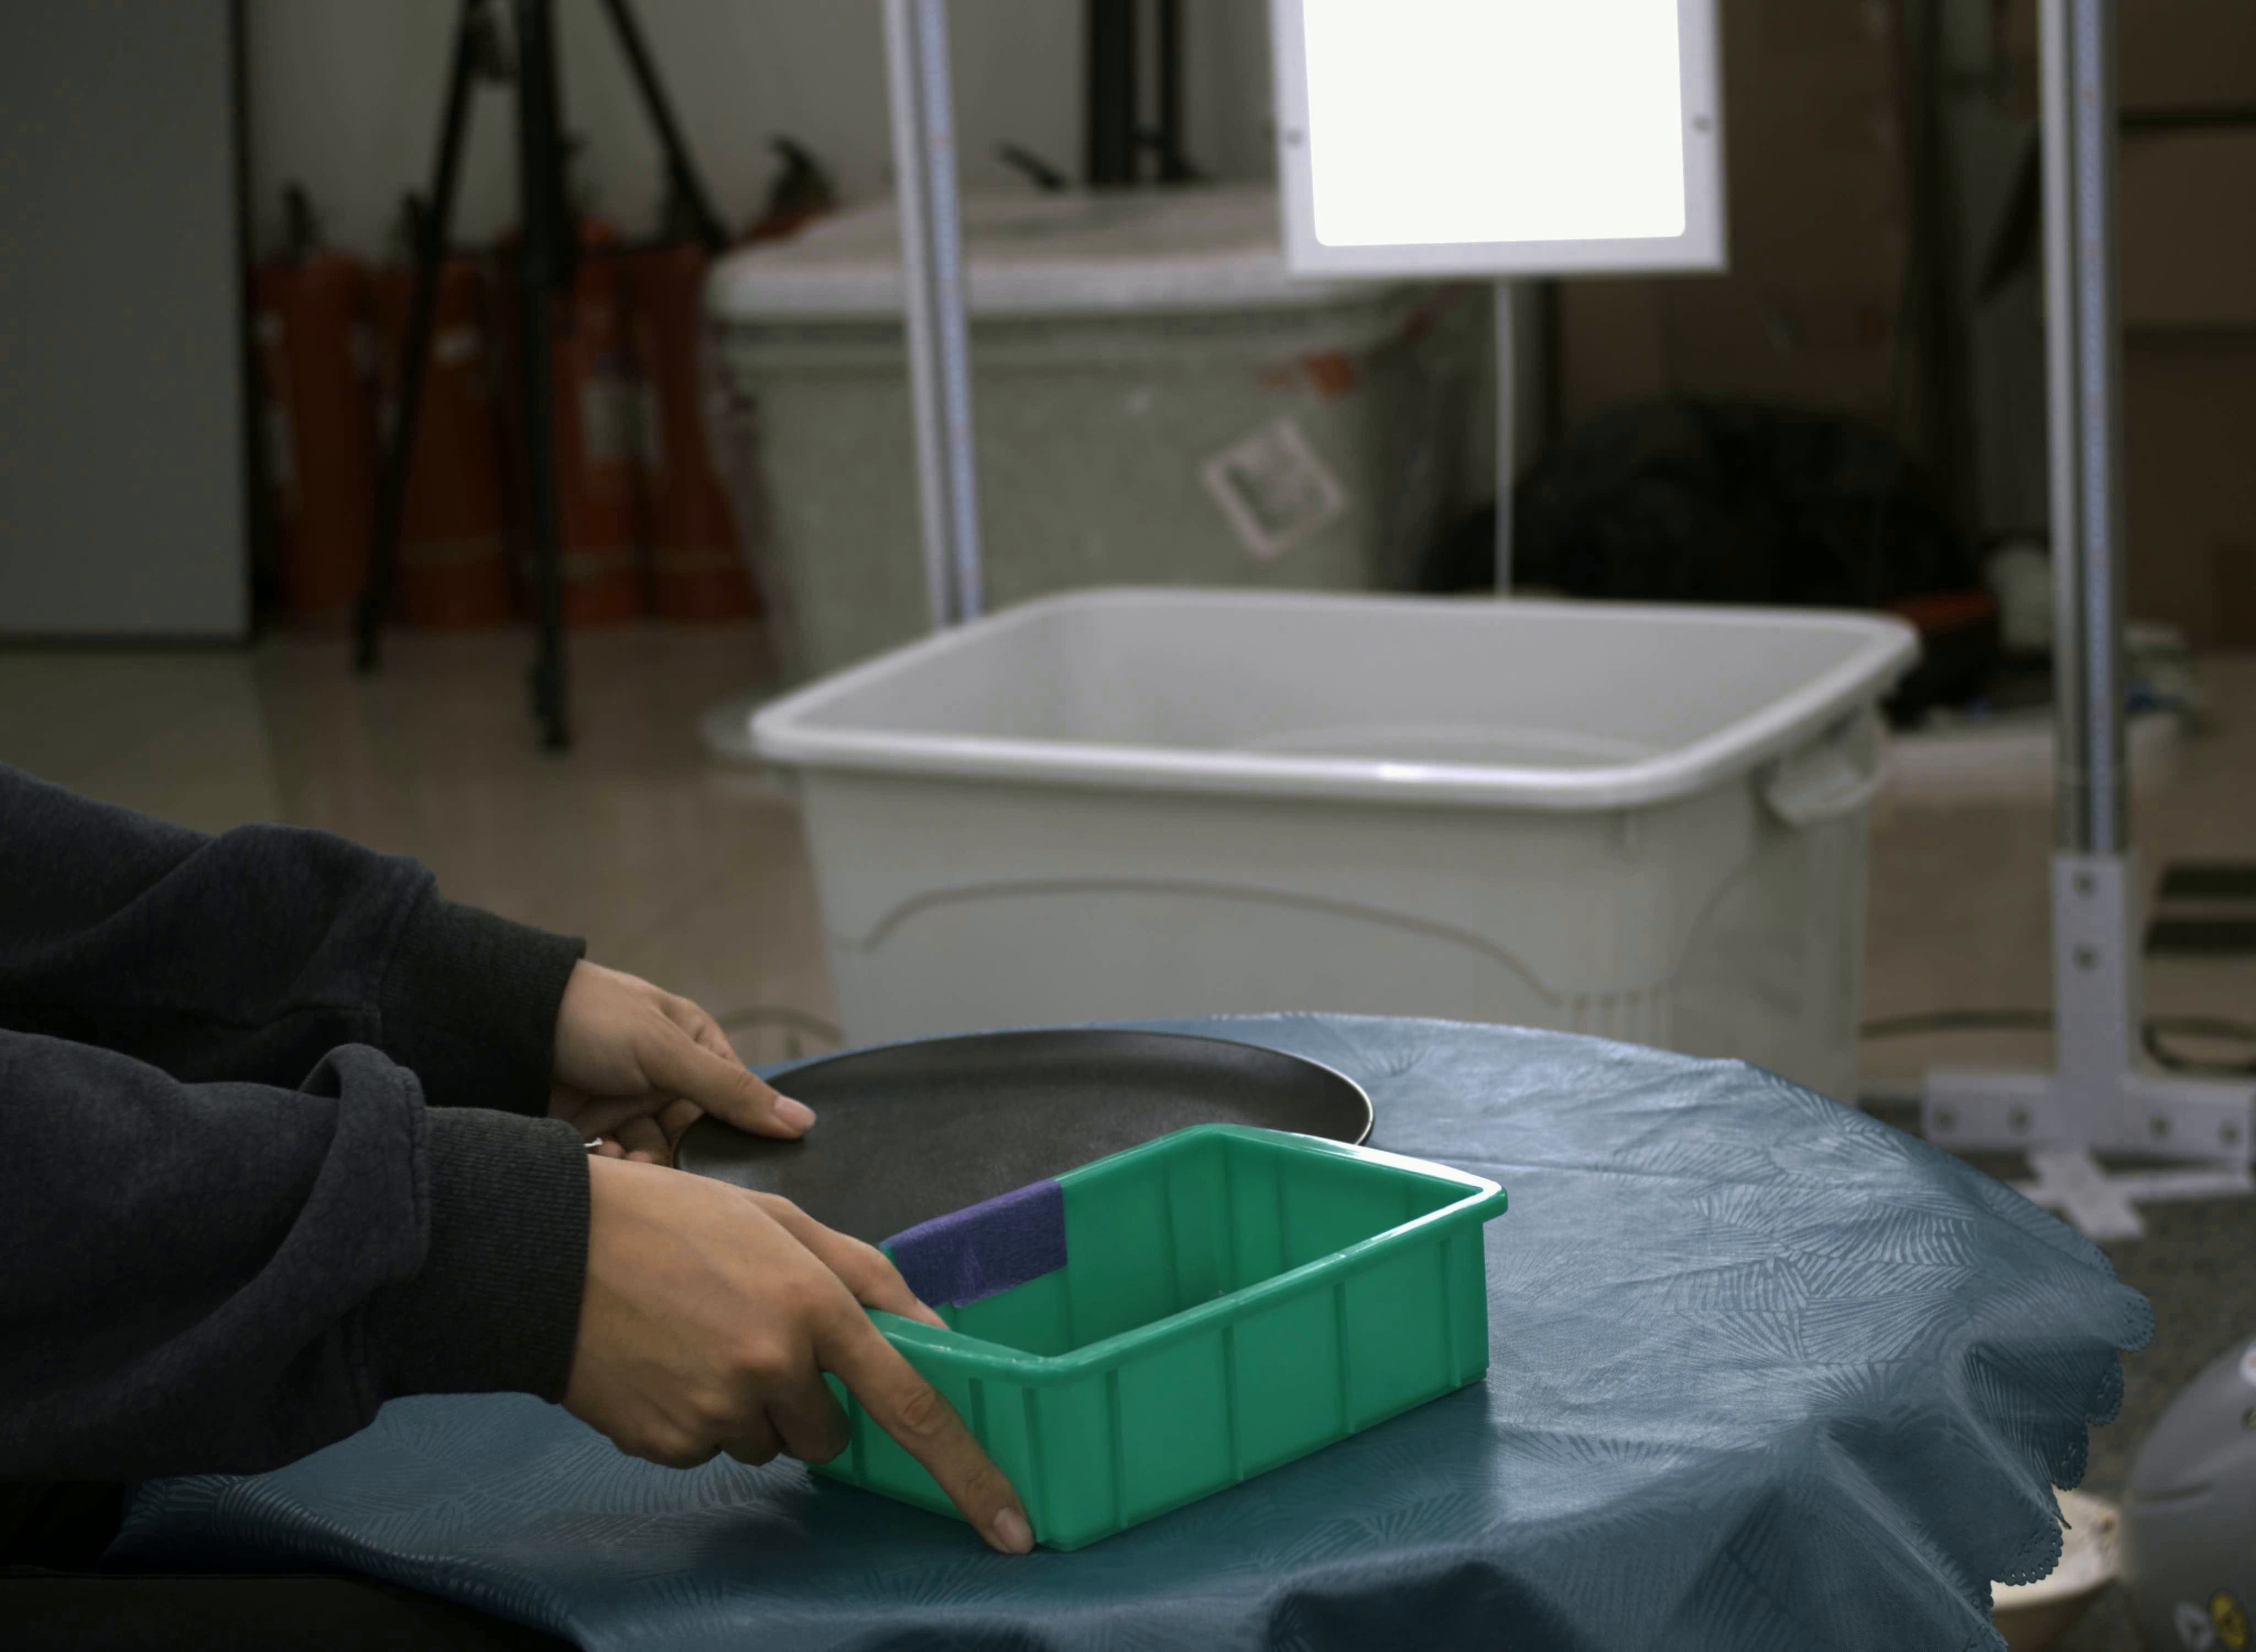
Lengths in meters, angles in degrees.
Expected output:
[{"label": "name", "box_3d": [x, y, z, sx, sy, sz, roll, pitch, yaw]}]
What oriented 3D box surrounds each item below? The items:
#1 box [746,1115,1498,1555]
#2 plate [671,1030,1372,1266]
[{"label": "box", "box_3d": [0.003, 0.152, 1.659, 0.205, 0.065, 0.142, -20, 18, -40]}, {"label": "plate", "box_3d": [-0.036, 0.115, 1.903, 0.244, 0.023, 0.244, -4, 15, 0]}]
